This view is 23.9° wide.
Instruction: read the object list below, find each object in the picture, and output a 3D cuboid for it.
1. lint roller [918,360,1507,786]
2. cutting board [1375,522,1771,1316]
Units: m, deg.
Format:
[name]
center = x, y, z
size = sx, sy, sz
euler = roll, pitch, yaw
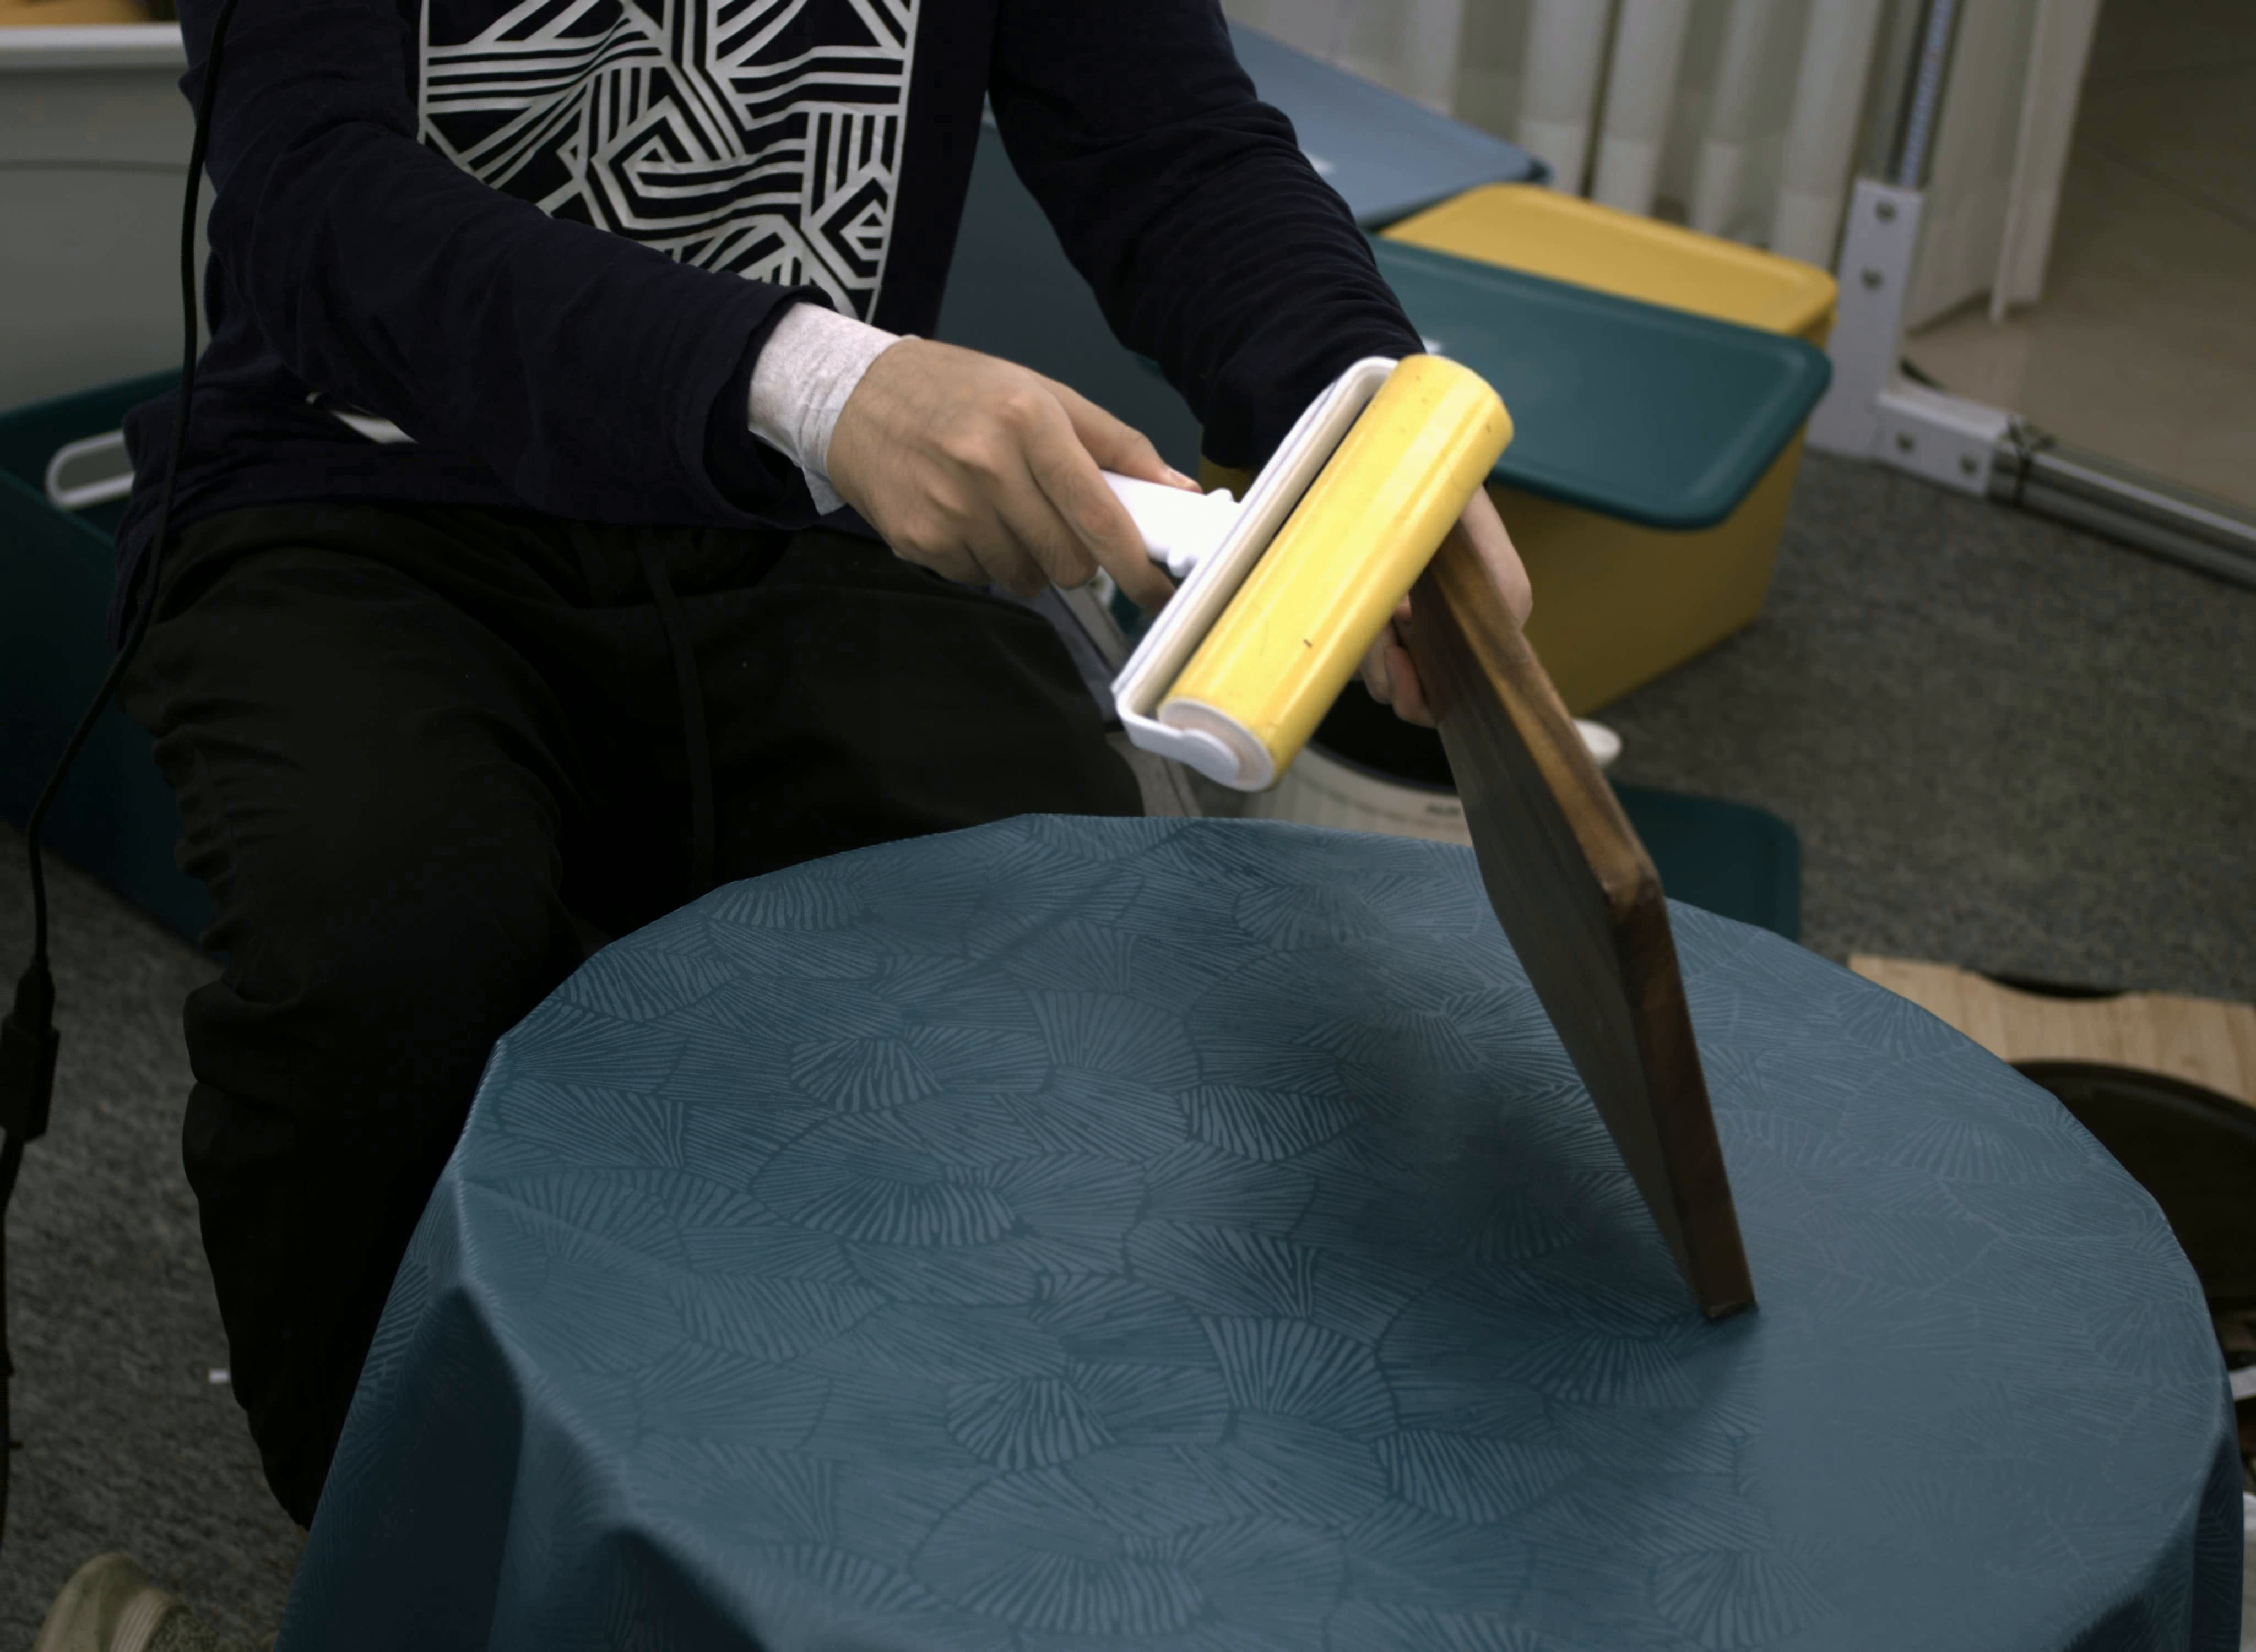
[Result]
[lint roller]
center = 0.008, -0.109, 1.816
size = 0.193, 0.051, 0.174
euler = 22, 59, 24
[cutting board]
center = 0.136, -0.006, 1.847
size = 0.023, 0.199, 0.355
euler = -22, 37, -3
